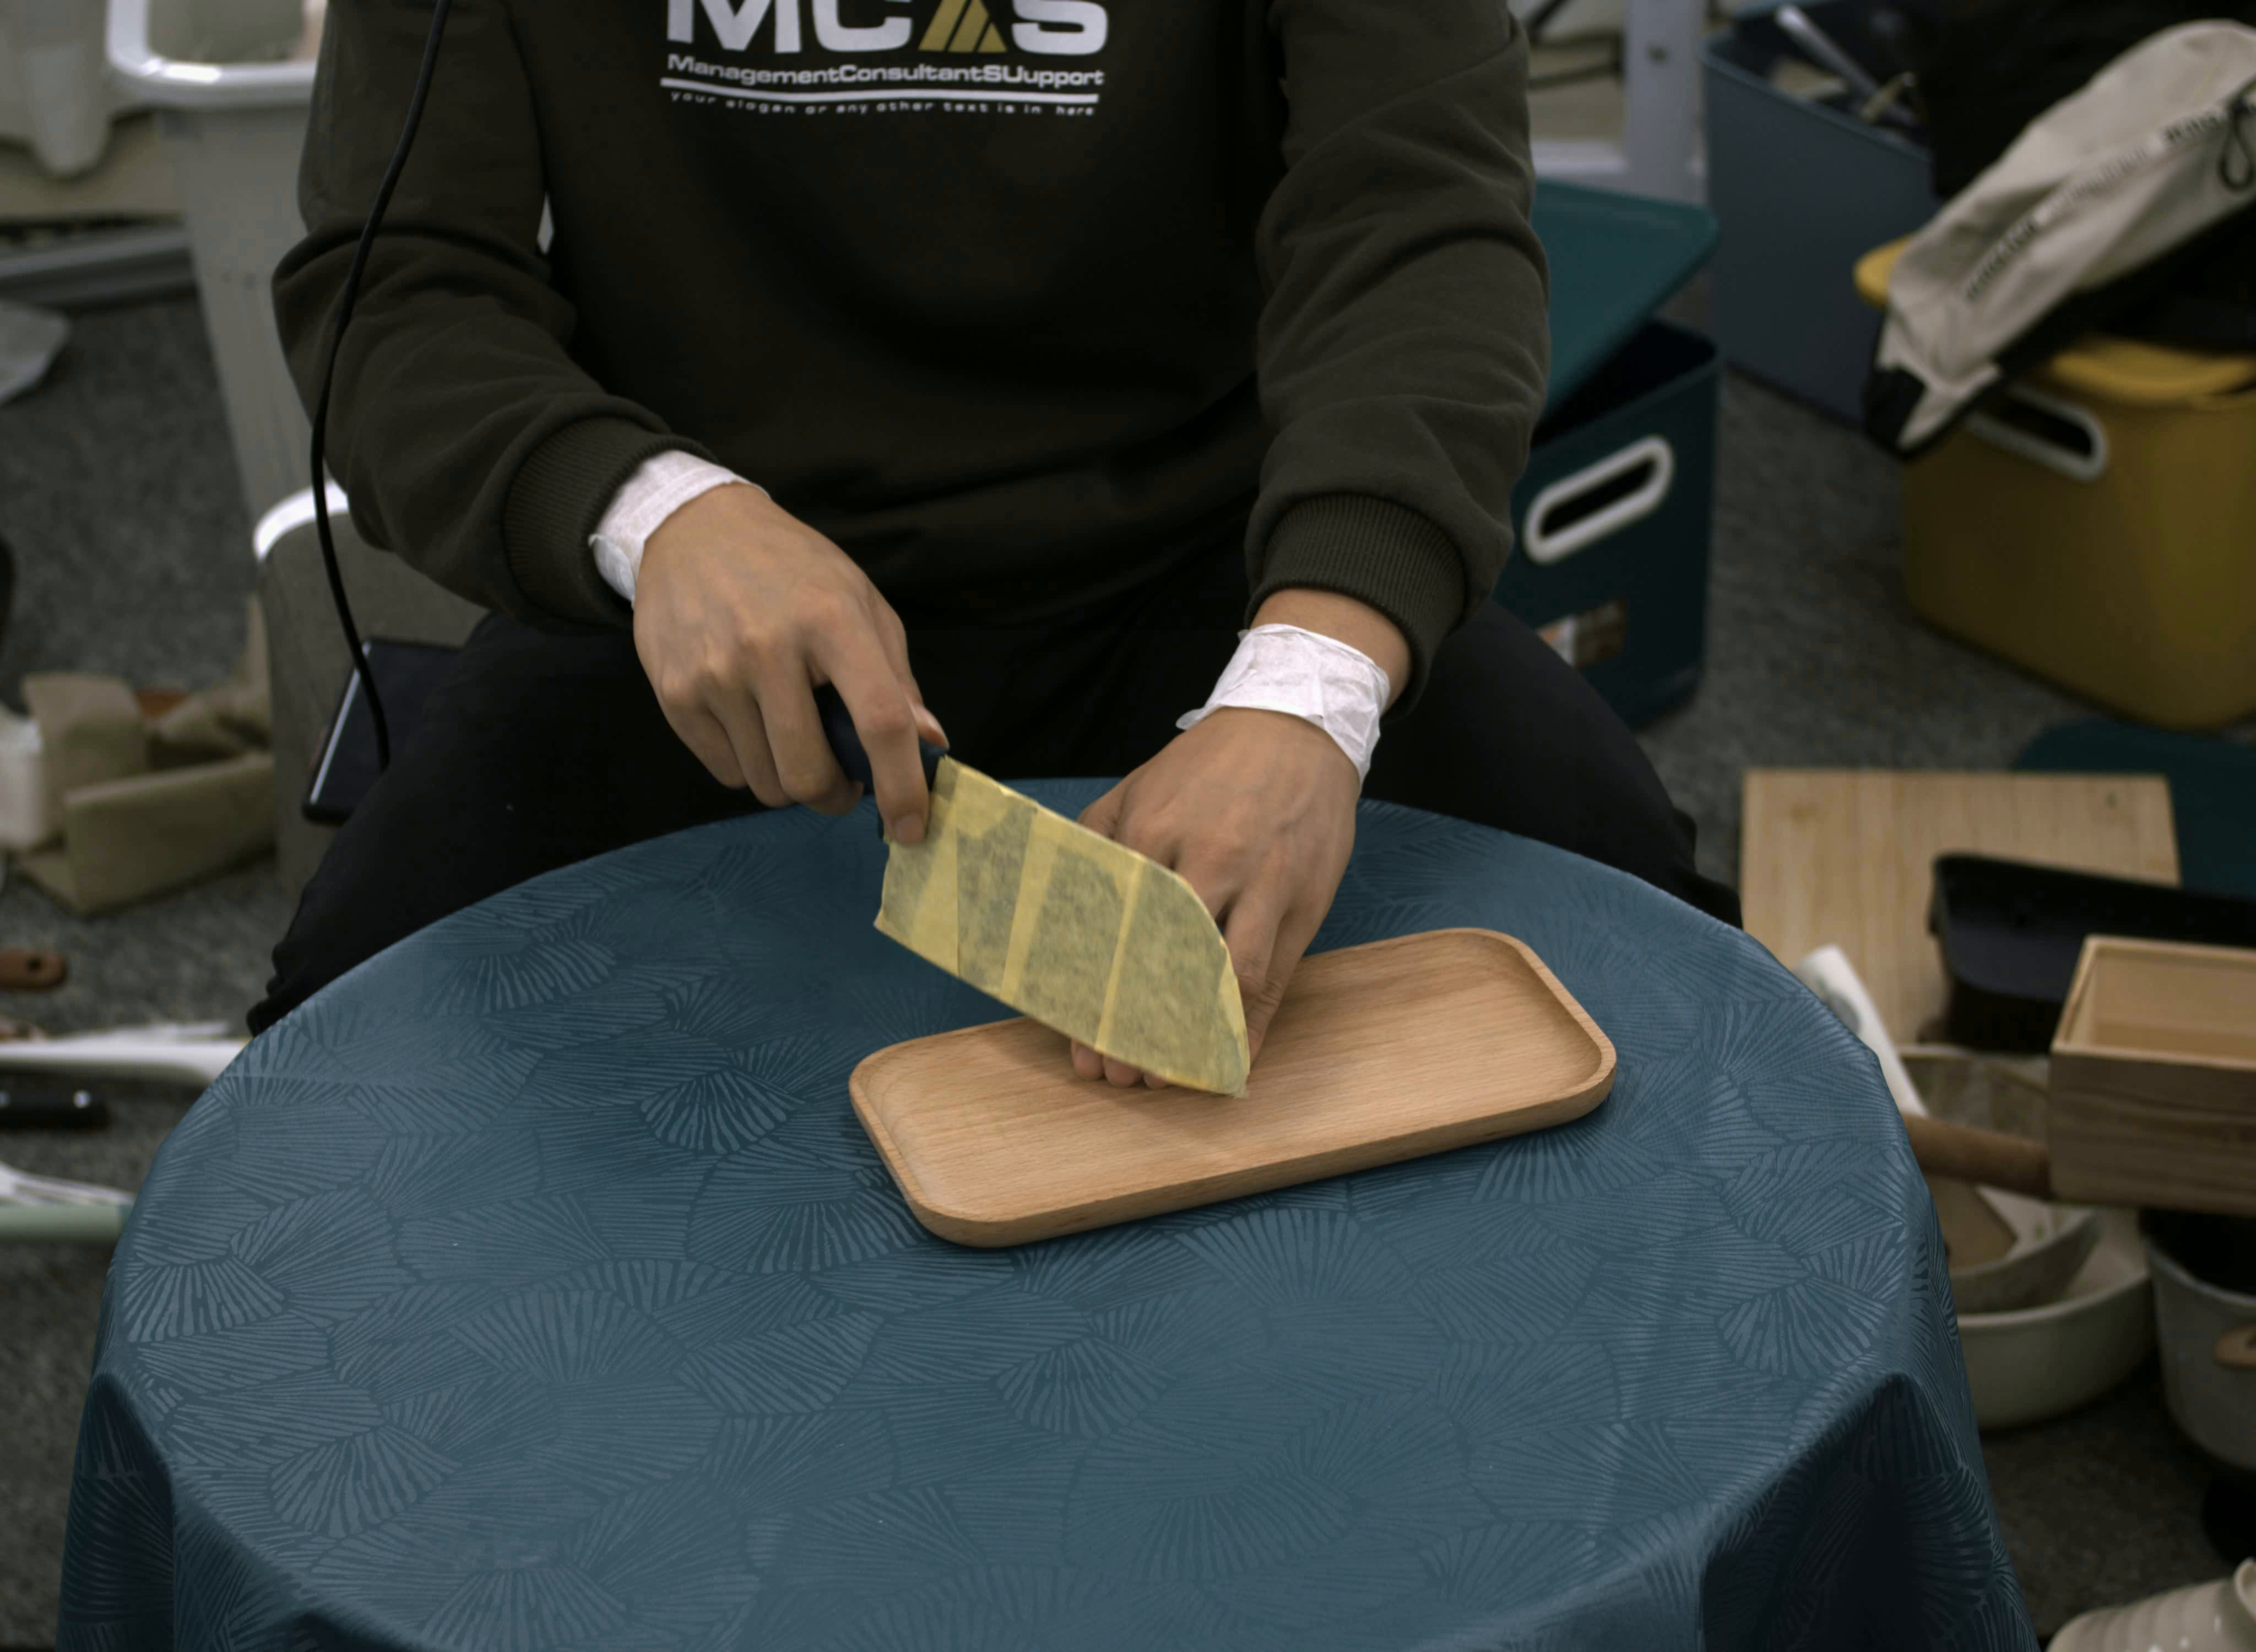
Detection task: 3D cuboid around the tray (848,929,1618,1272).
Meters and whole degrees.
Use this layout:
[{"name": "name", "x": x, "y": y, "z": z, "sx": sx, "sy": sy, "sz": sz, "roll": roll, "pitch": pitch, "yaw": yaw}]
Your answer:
[{"name": "tray", "x": 0.035, "y": 0.092, "z": 1.905, "sx": 0.251, "sy": 0.022, "sz": 0.131, "roll": -14, "pitch": 26, "yaw": -15}]

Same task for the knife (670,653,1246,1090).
[{"name": "knife", "x": -0.061, "y": 0.013, "z": 1.933, "sx": 0.290, "sy": 0.080, "sz": 0.027, "roll": 31, "pitch": 23, "yaw": 36}]
